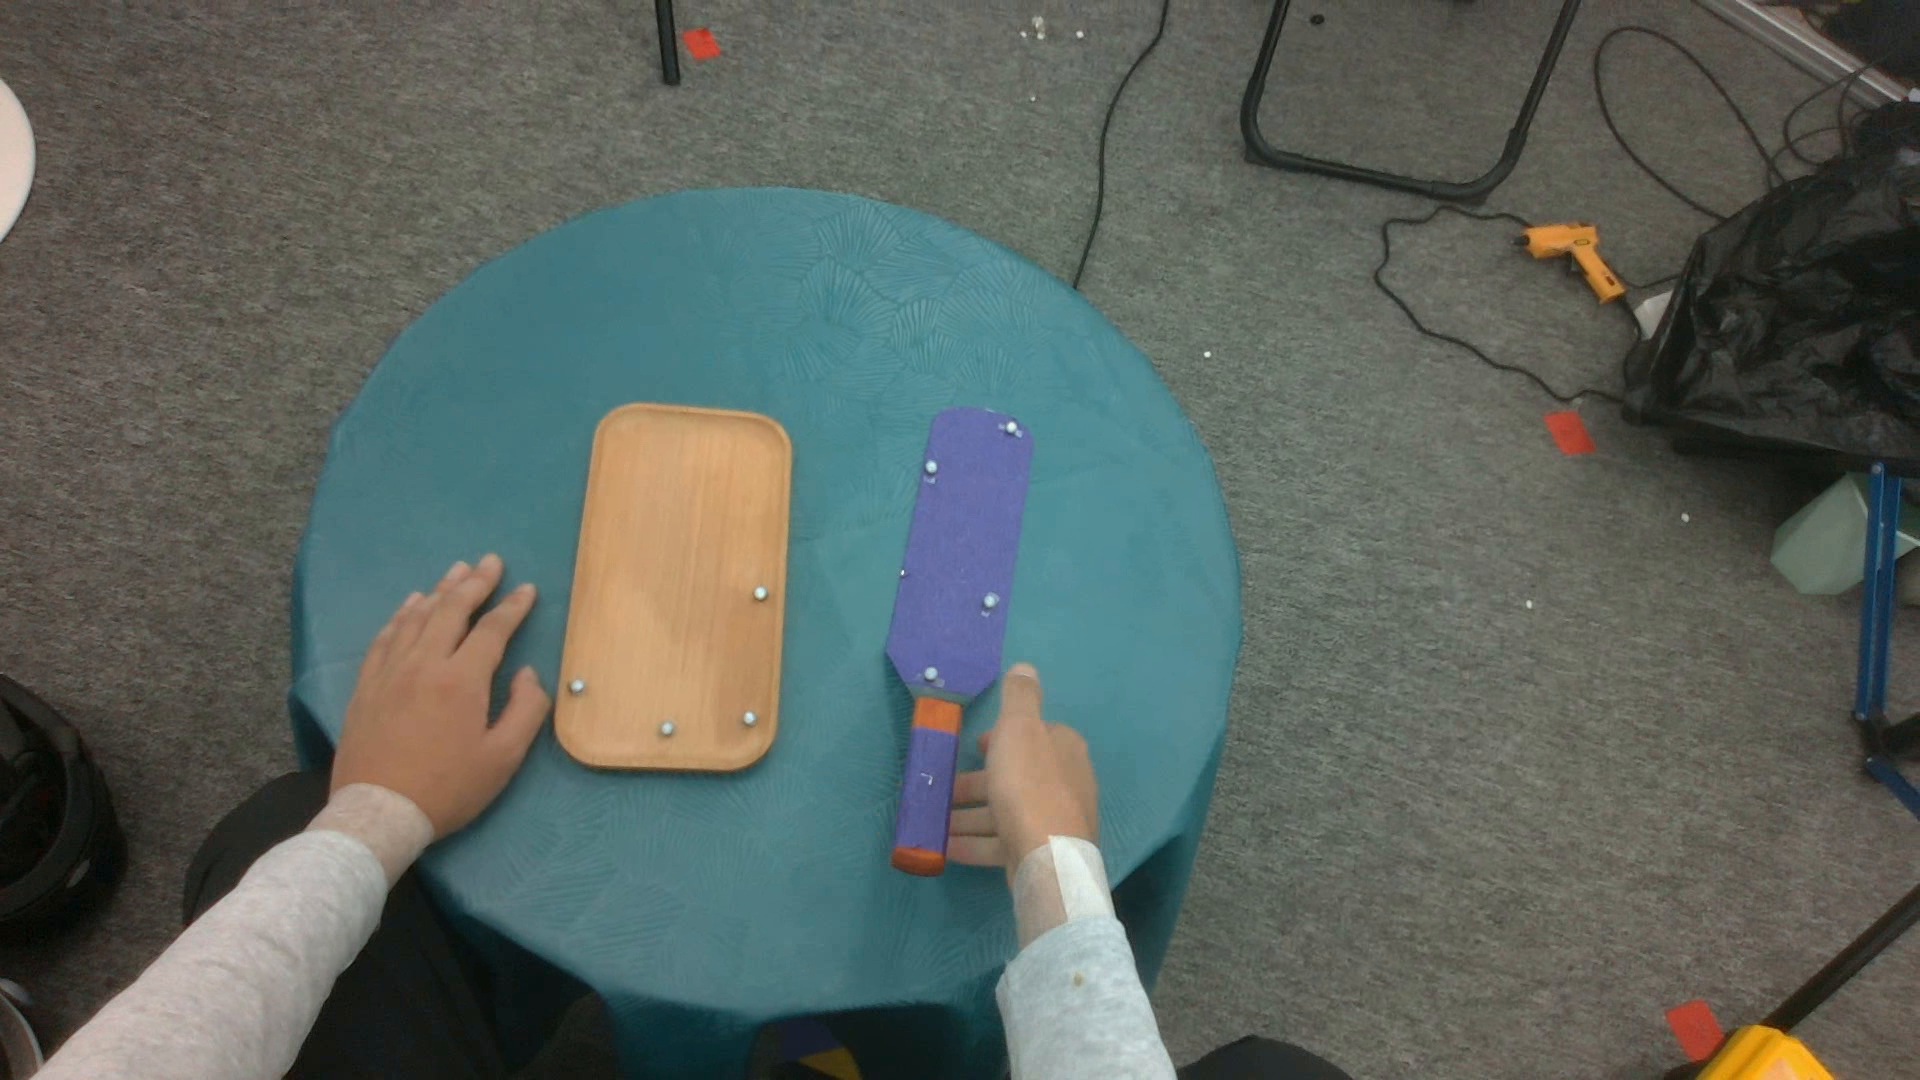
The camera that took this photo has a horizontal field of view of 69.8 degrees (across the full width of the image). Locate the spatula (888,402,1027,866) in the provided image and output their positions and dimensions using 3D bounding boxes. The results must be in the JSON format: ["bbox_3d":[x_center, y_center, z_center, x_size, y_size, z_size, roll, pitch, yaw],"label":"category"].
[{"bbox_3d":[-0.002,0.039,0.859,0.075,0.086,0.361,9,34,-3],"label":"spatula"}]

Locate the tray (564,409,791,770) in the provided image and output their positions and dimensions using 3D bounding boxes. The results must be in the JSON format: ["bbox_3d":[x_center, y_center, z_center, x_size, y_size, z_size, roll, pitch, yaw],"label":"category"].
[{"bbox_3d":[-0.174,0.026,0.872,0.130,0.023,0.251,4,60,-11],"label":"tray"}]
